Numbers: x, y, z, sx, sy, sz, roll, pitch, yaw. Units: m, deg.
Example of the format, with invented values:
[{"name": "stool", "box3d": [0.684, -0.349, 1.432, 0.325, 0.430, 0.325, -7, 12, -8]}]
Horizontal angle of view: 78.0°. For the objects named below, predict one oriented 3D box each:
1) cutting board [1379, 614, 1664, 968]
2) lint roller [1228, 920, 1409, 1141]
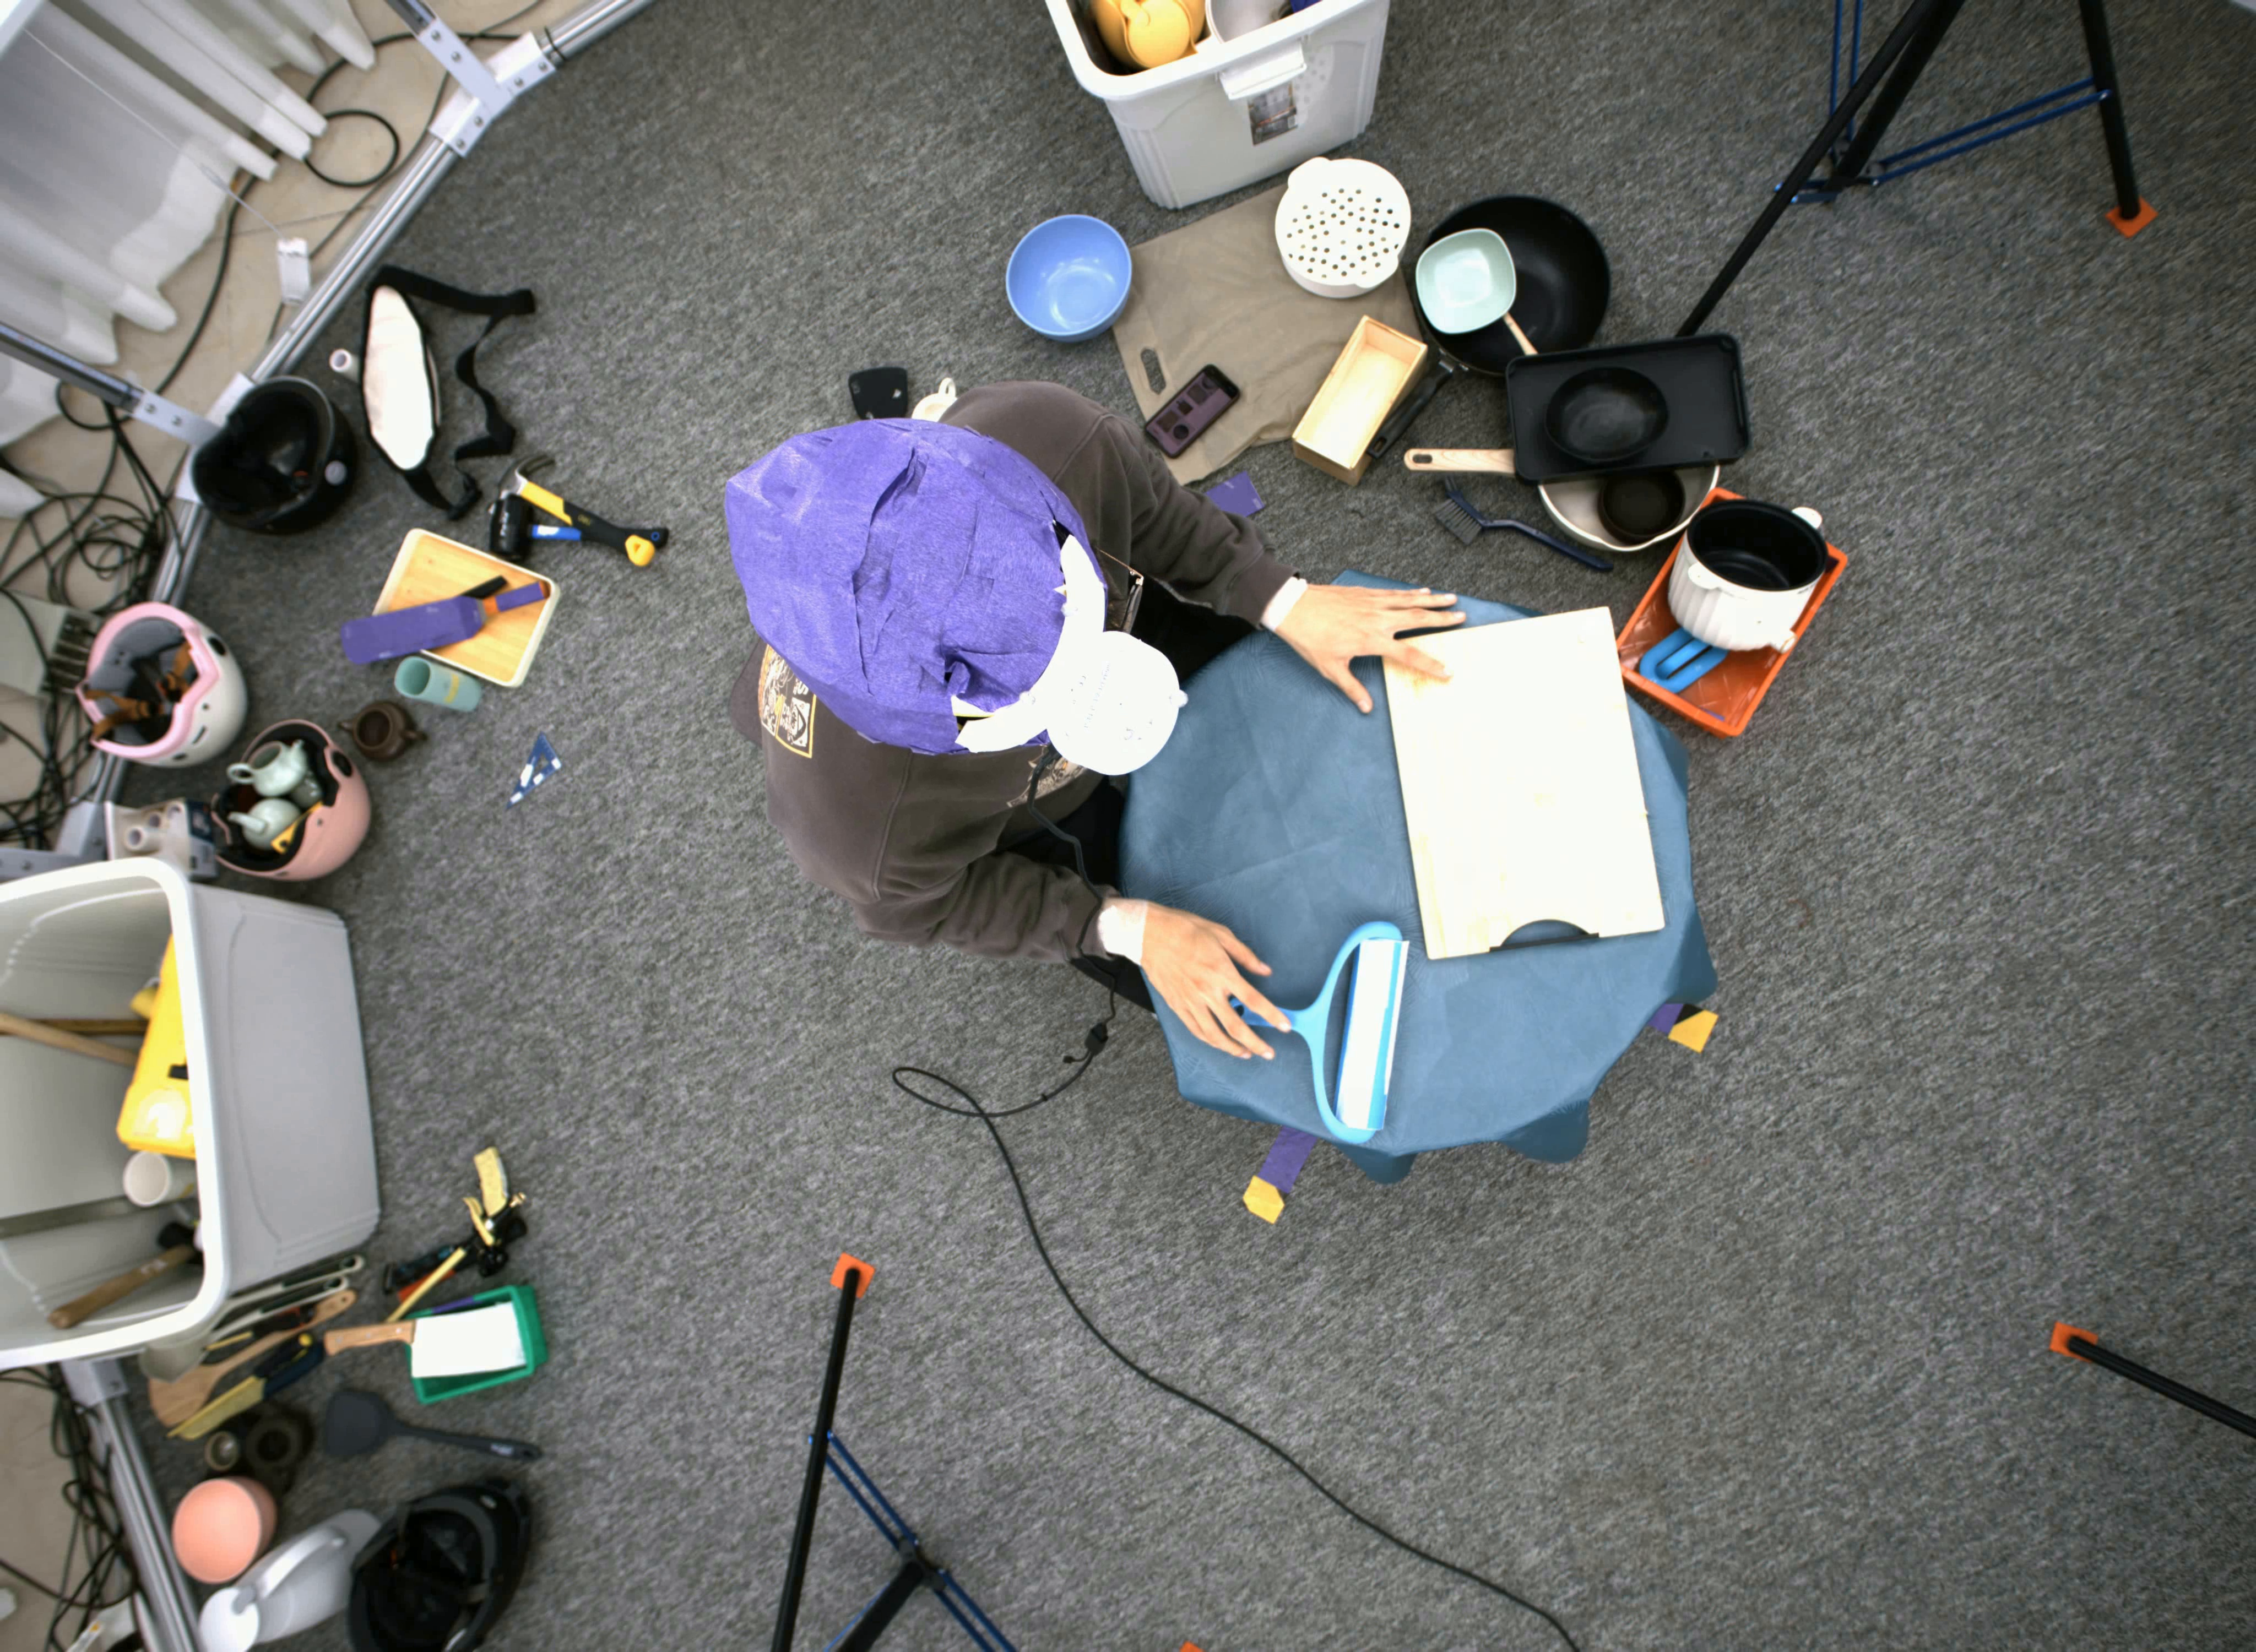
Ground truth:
[{"name": "cutting board", "box3d": [0.407, -0.041, 1.429, 0.252, 0.023, 0.347, -9, 86, 10]}, {"name": "lint roller", "box3d": [0.191, 0.203, 1.437, 0.181, 0.068, 0.228, 6, 90, 9]}]
